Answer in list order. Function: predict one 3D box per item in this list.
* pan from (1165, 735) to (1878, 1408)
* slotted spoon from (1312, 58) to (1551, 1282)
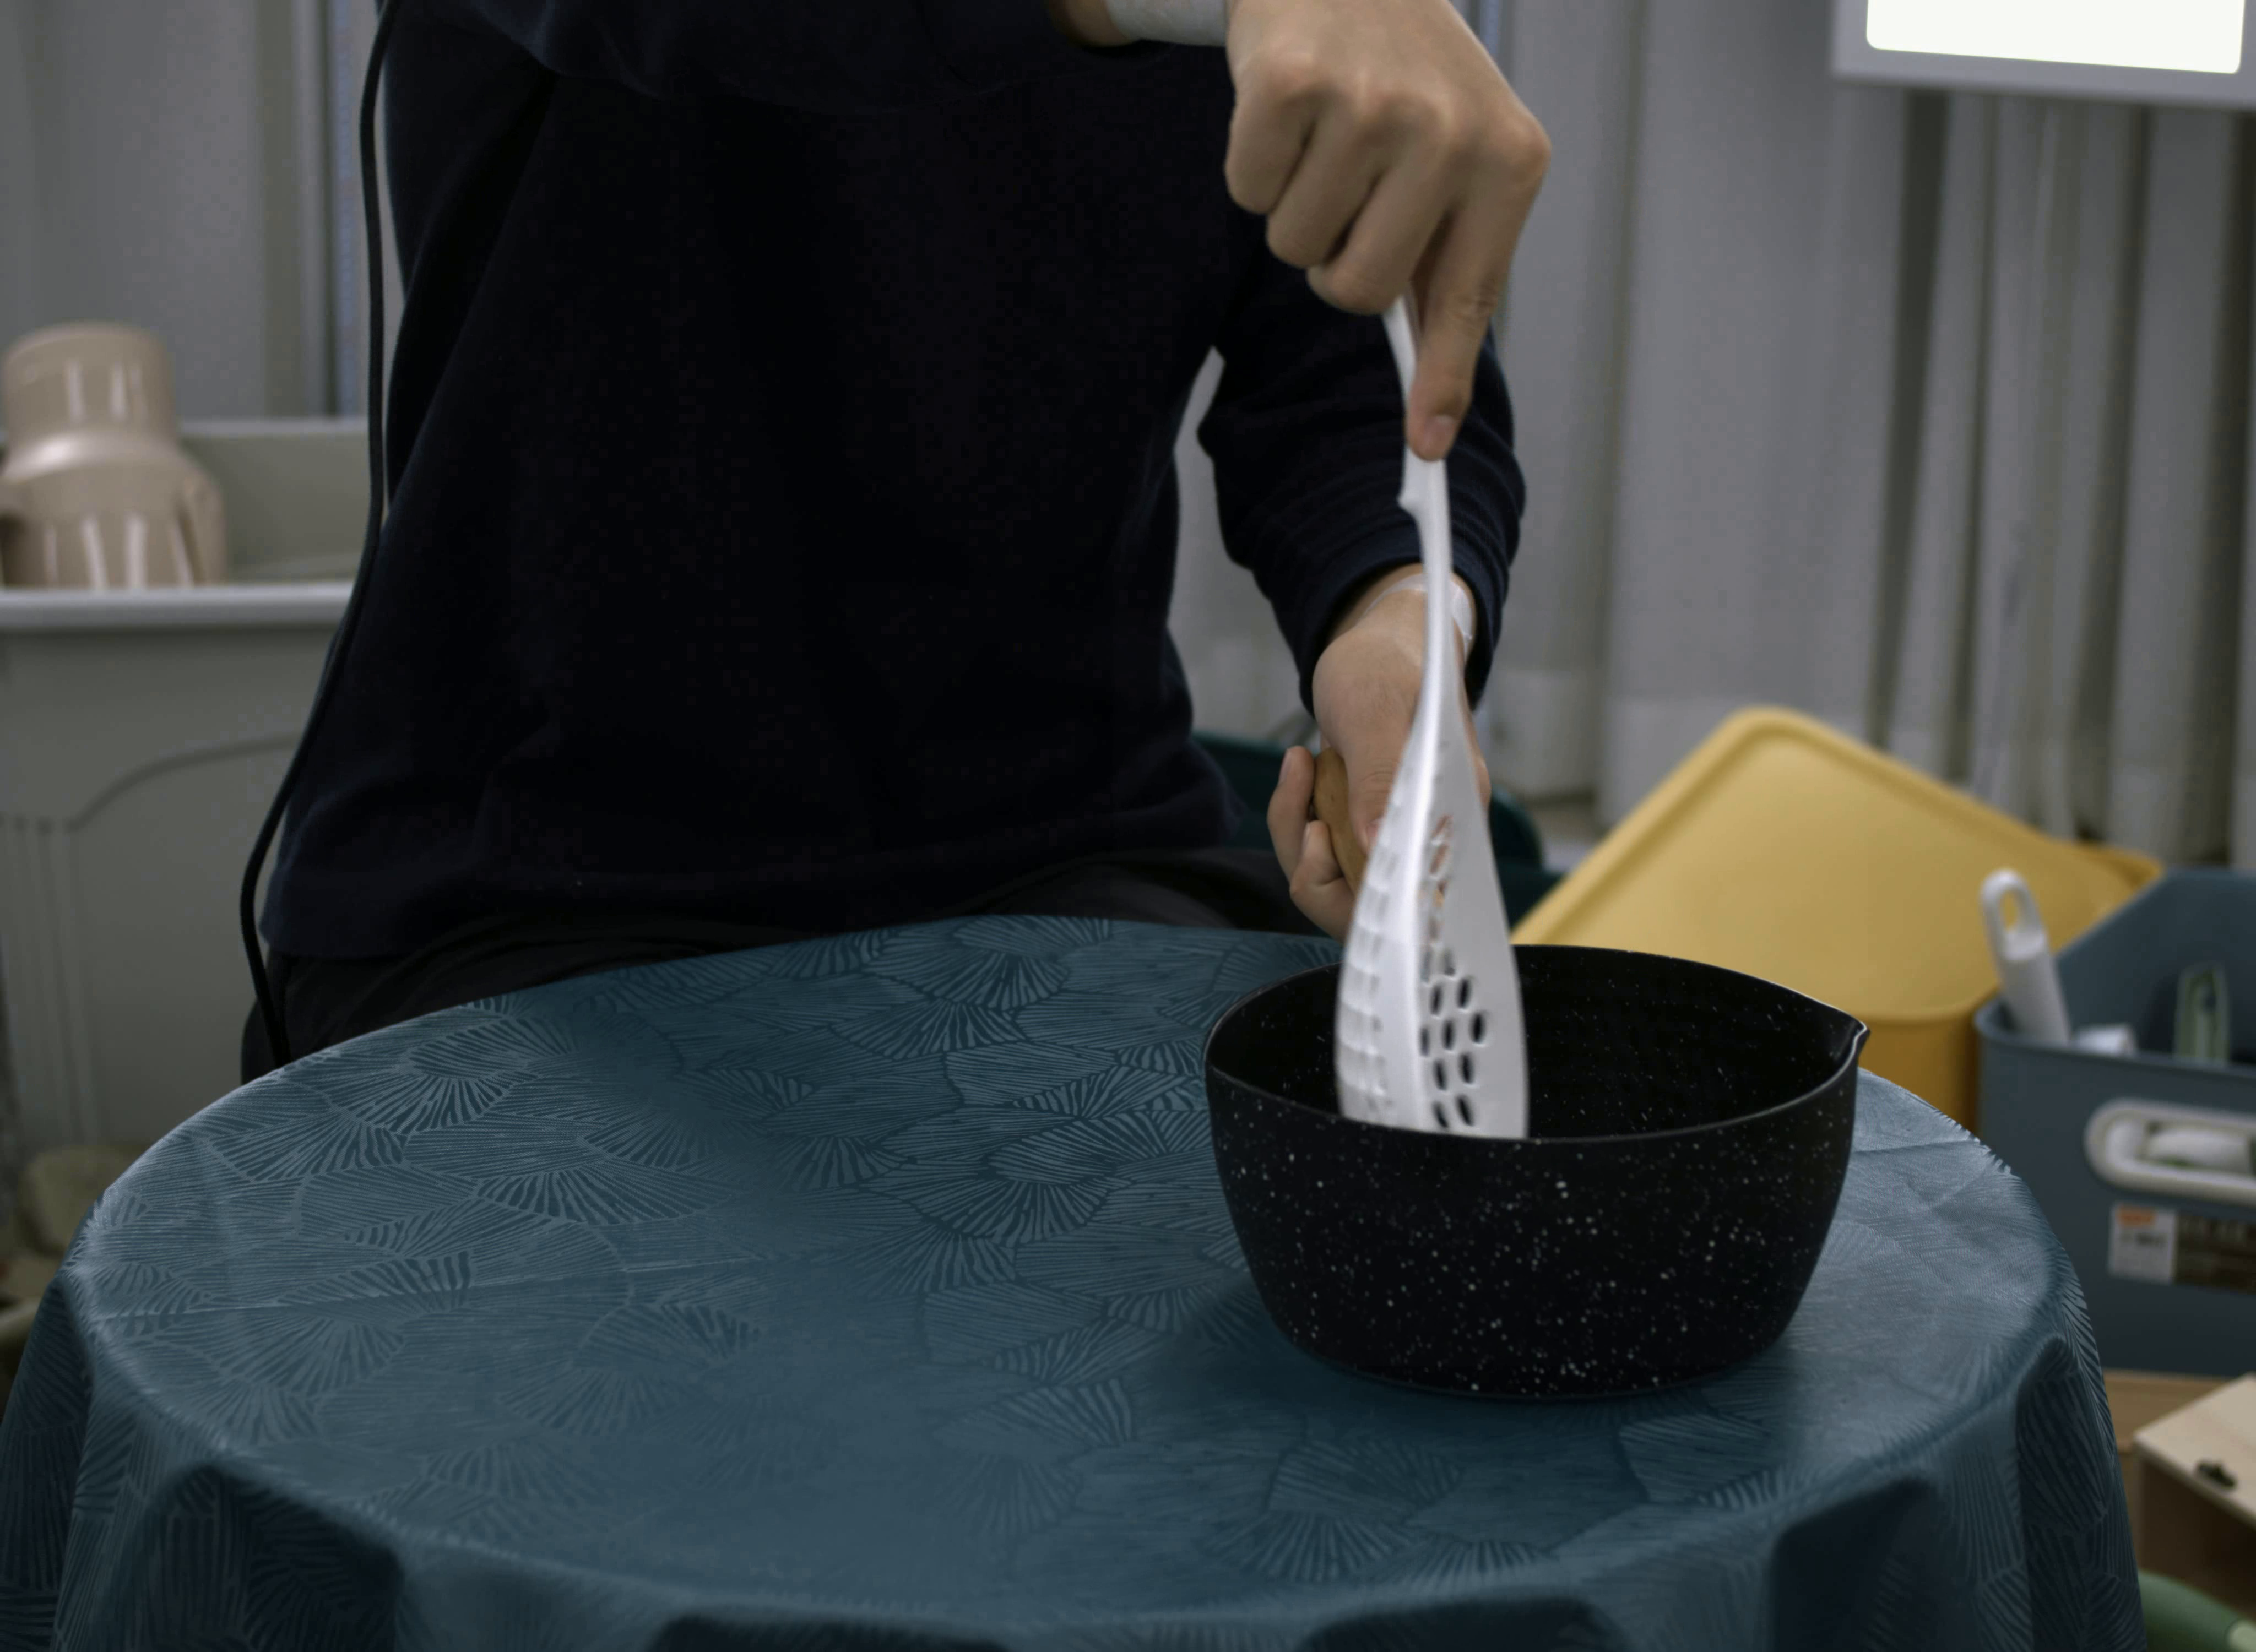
[{"bbox_3d":[0.099,0.068,1.583,0.207,0.109,0.339,-4,17,-11],"label":"pan"},{"bbox_3d":[0.080,-0.038,1.464,0.050,0.350,0.137,2,14,16],"label":"slotted spoon"}]
